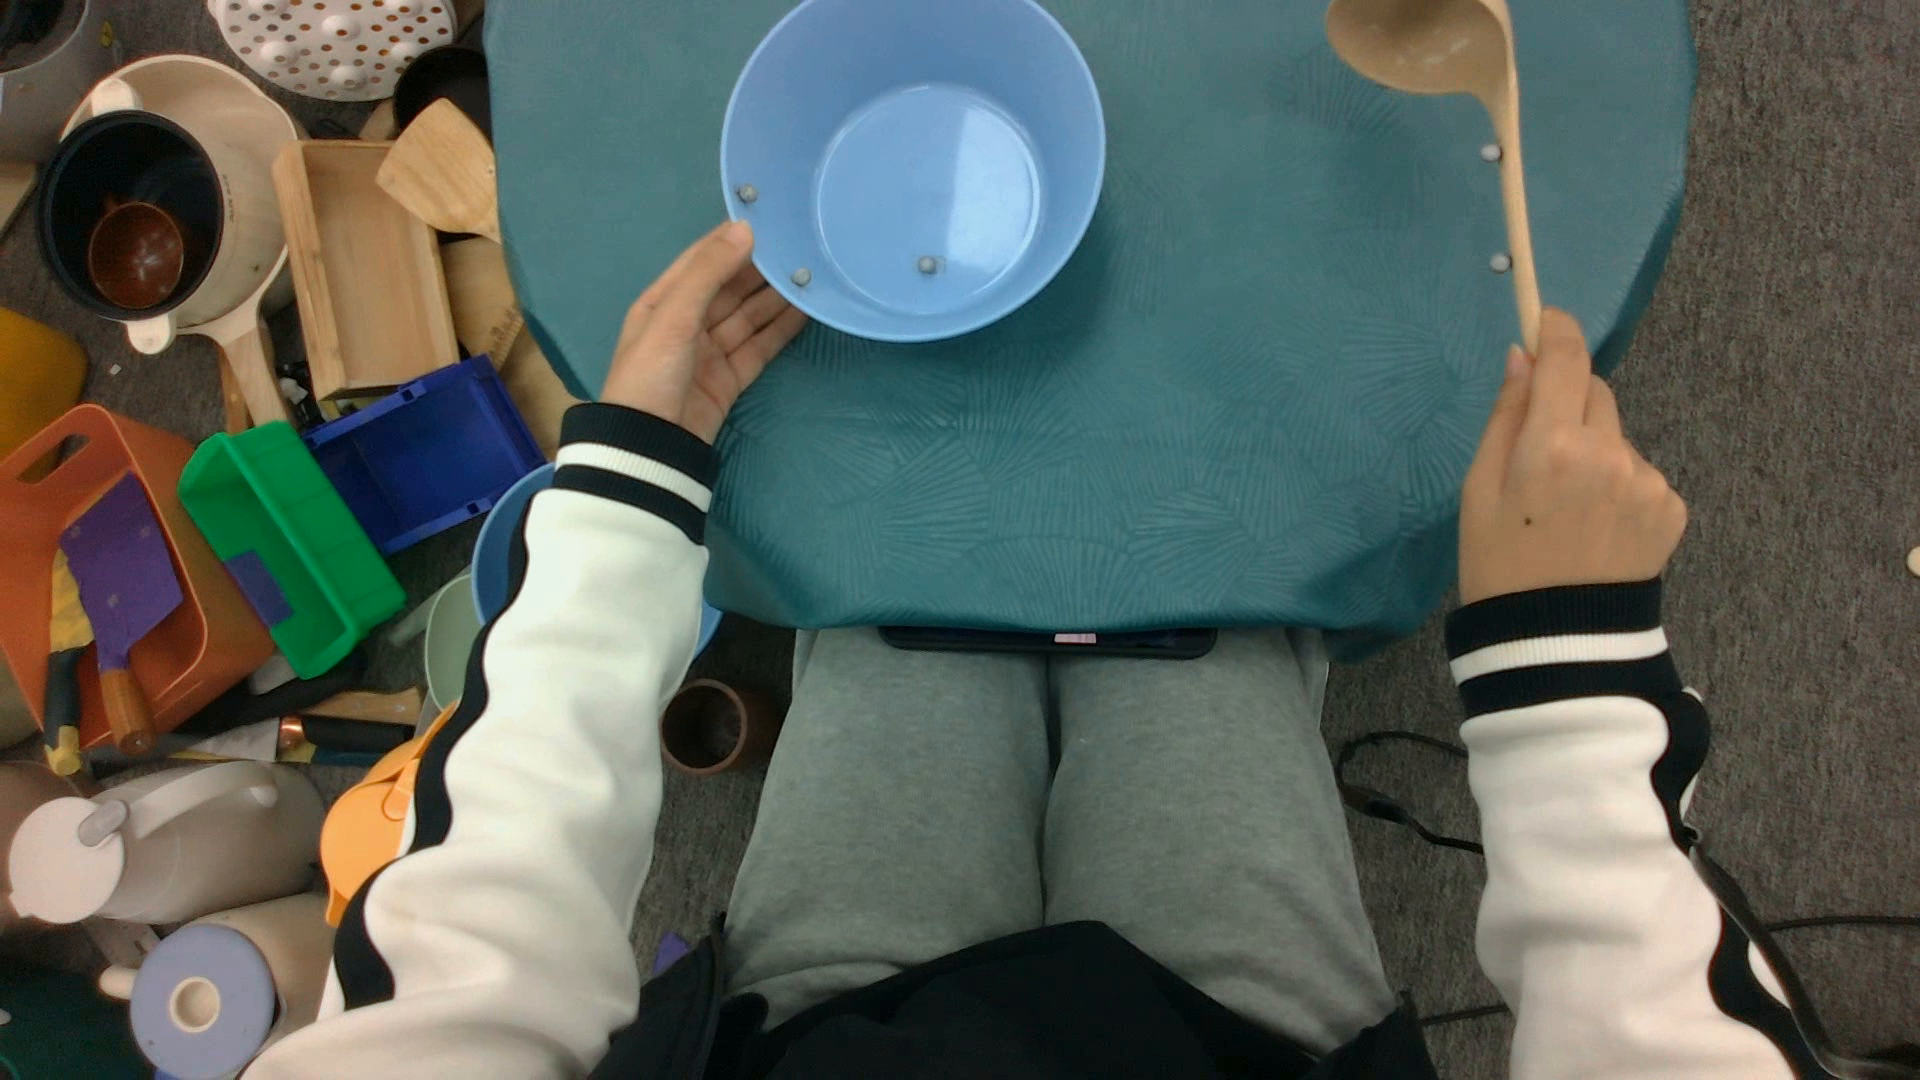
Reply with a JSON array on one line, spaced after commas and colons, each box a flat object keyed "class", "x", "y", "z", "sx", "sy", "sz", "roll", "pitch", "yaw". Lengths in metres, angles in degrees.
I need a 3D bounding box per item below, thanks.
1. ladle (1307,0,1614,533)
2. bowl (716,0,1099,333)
[{"class": "ladle", "x": 0.197, "y": -0.123, "z": 0.553, "sx": 0.073, "sy": 0.072, "sz": 0.255, "roll": -1, "pitch": 72, "yaw": -18}, {"class": "bowl", "x": -0.021, "y": -0.176, "z": 0.655, "sx": 0.176, "sy": 0.070, "sz": 0.176, "roll": -1, "pitch": 82, "yaw": 6}]
